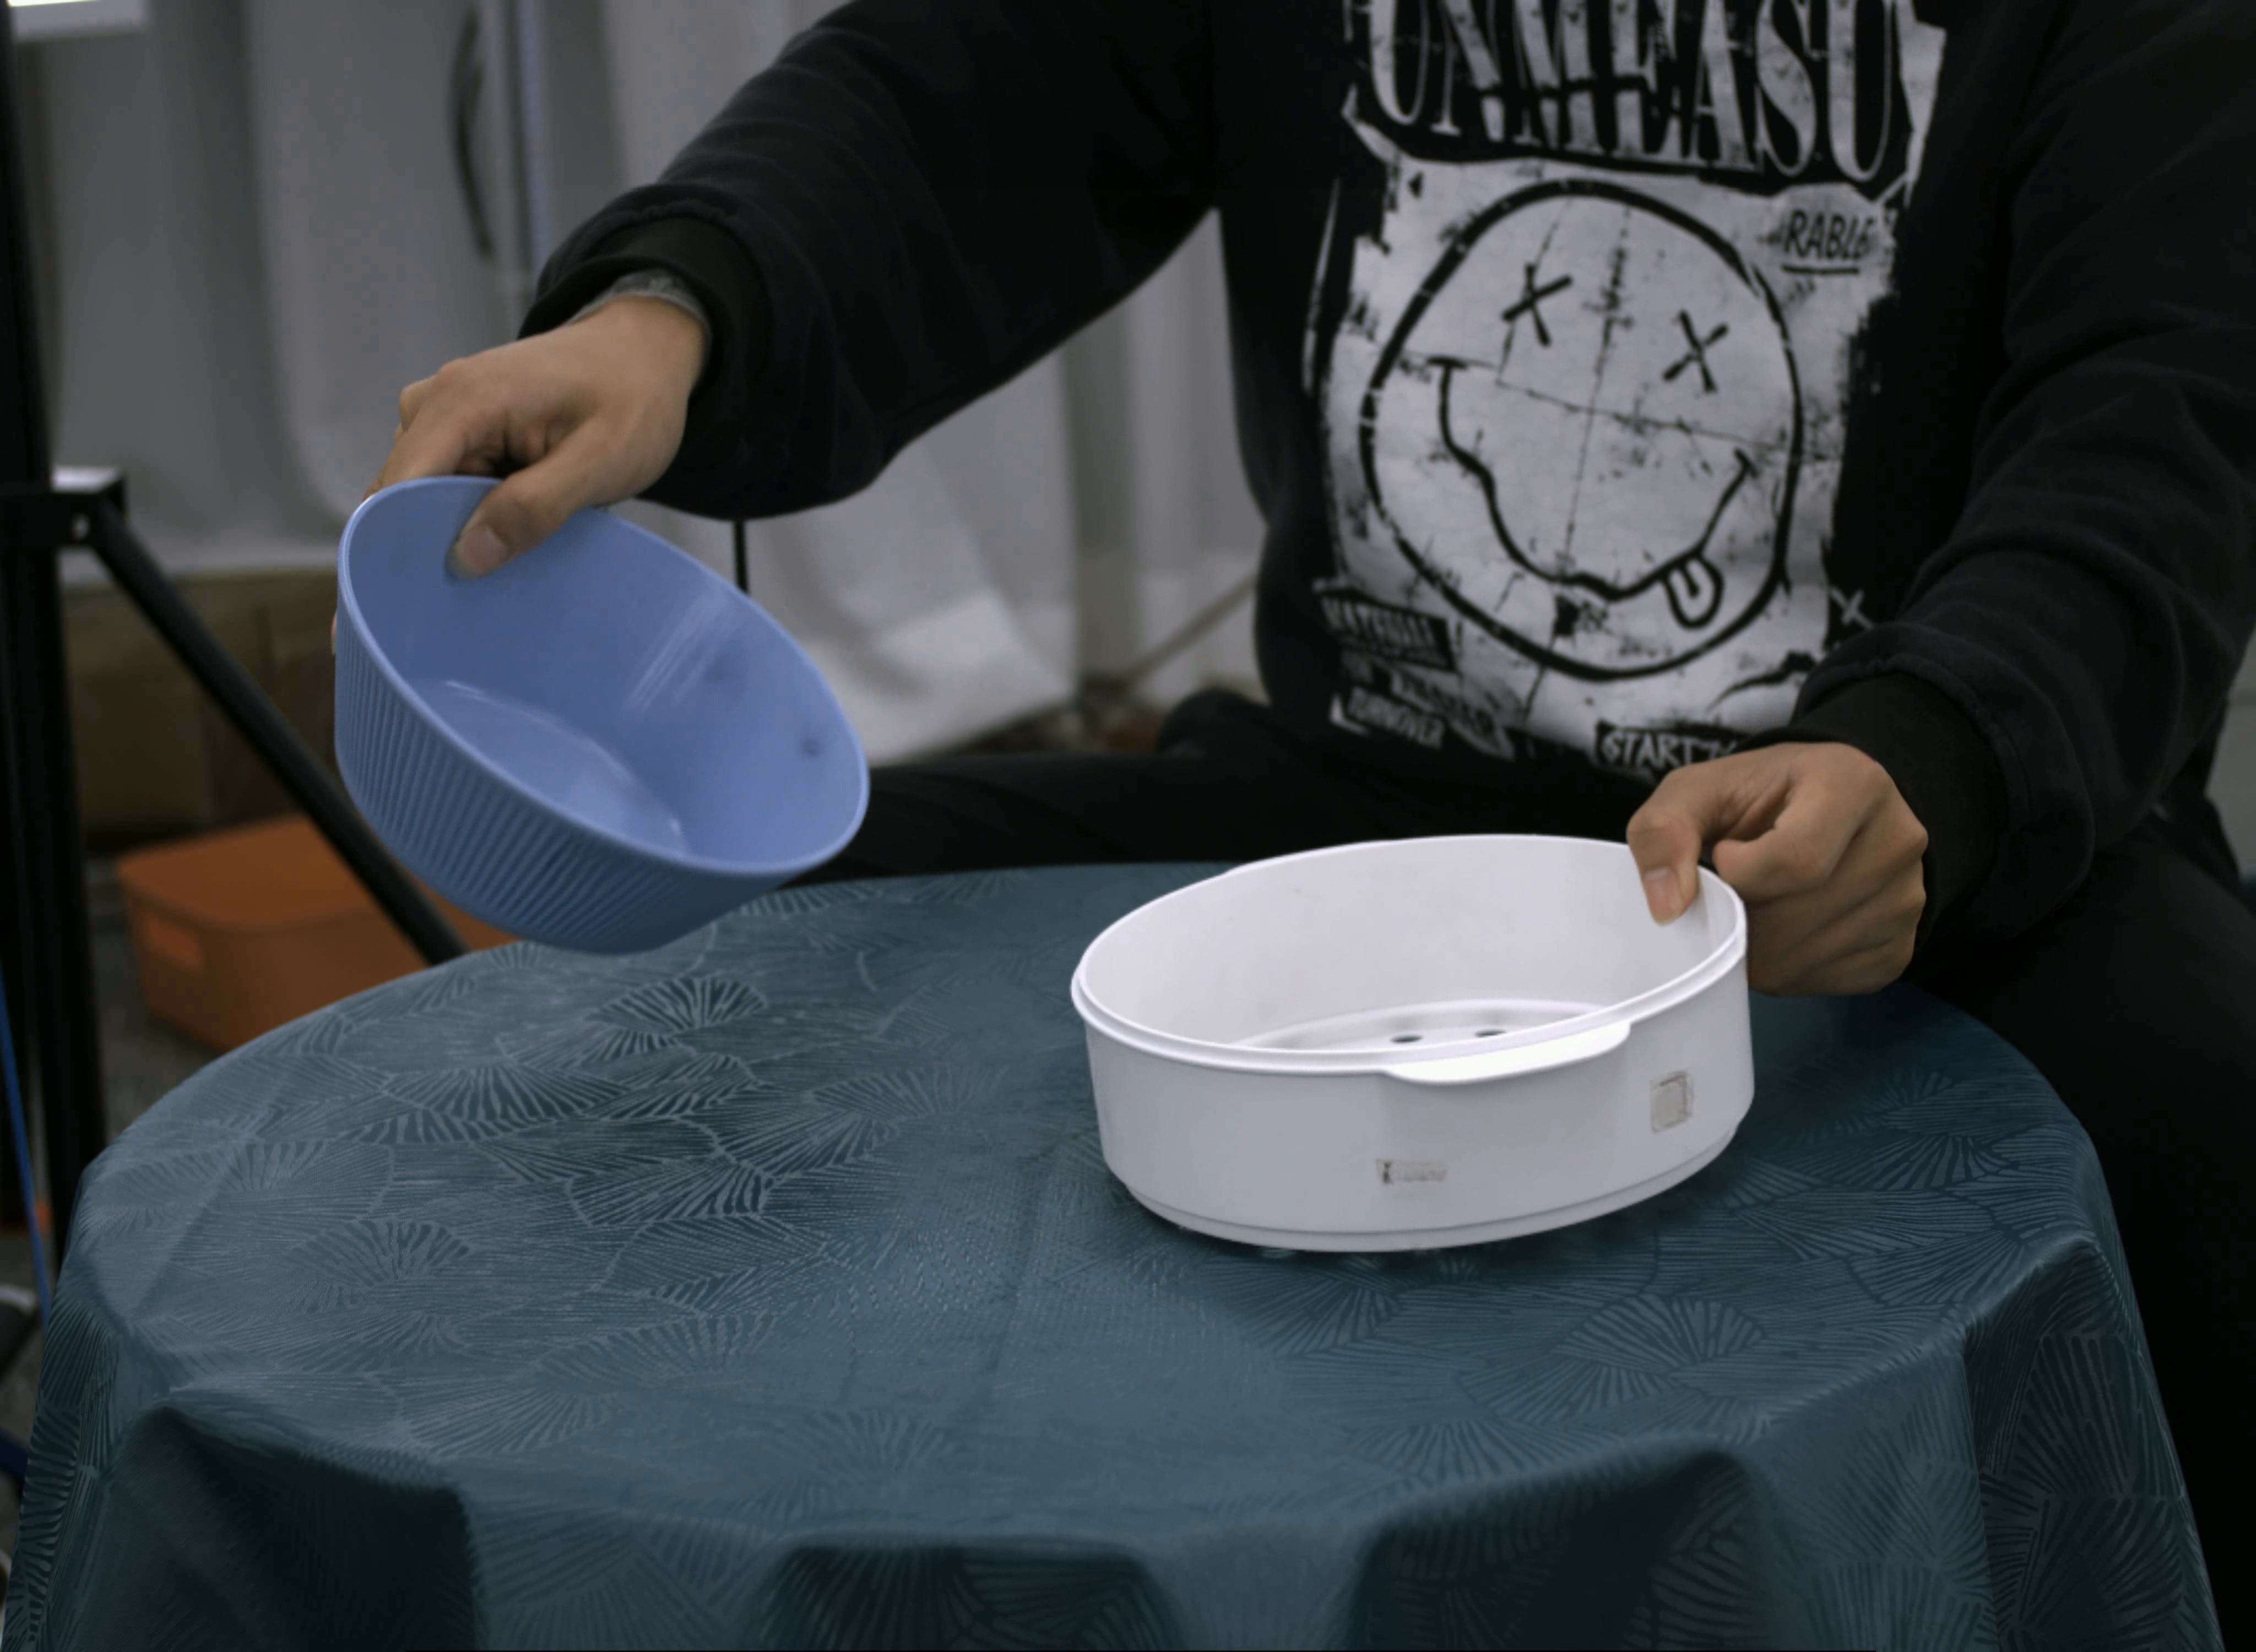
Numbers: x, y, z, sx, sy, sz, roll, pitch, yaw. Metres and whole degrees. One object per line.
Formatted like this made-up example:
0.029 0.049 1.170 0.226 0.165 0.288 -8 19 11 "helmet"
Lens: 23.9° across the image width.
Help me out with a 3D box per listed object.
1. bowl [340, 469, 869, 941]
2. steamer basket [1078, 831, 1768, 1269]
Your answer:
-0.169 -0.027 1.604 0.173 0.071 0.178 24 28 -16 "bowl"
0.088 0.065 1.553 0.199 0.069 0.234 -10 19 -11 "steamer basket"
